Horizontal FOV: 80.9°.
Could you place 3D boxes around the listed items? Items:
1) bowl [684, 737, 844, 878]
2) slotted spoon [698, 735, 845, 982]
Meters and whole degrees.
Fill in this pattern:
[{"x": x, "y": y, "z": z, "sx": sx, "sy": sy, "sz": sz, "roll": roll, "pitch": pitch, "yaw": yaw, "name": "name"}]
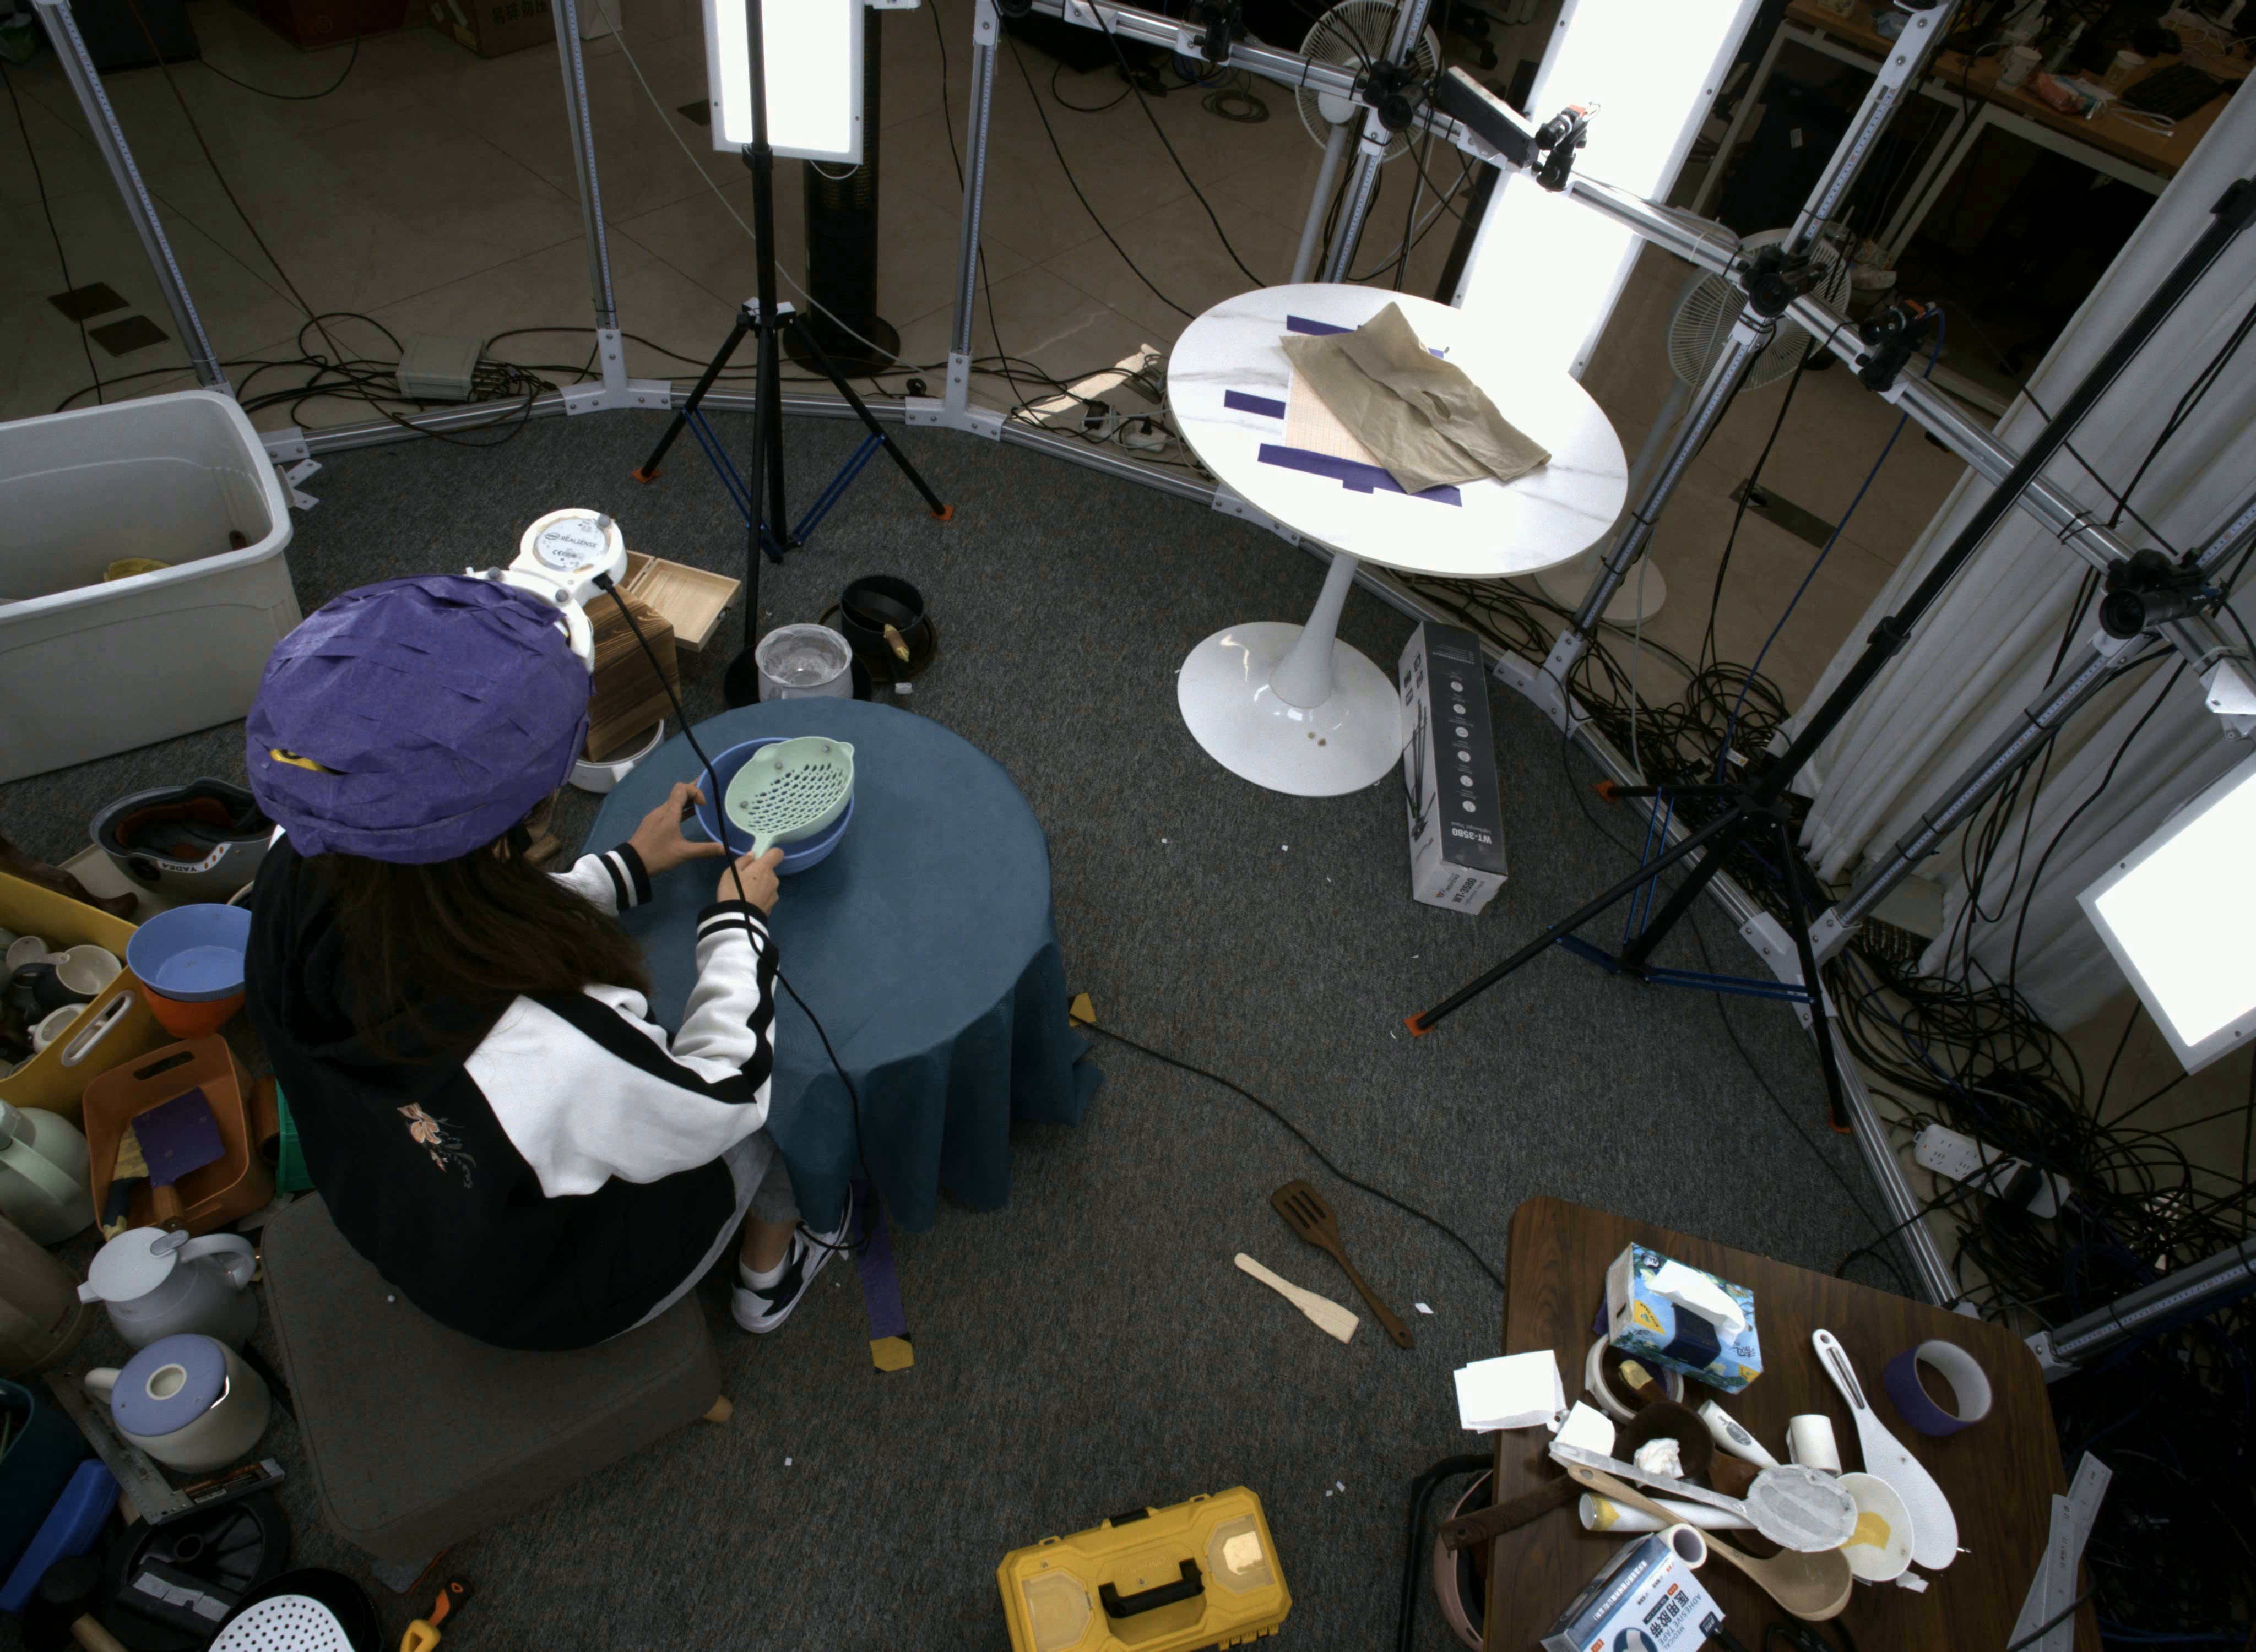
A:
[{"x": -0.462, "y": -0.009, "z": 1.655, "sx": 0.196, "sy": 0.097, "sz": 0.193, "roll": 8, "pitch": 53, "yaw": -9, "name": "bowl"}, {"x": -0.448, "y": 0.027, "z": 1.559, "sx": 0.165, "sy": 0.078, "sz": 0.354, "roll": 0, "pitch": 41, "yaw": 15, "name": "slotted spoon"}]
